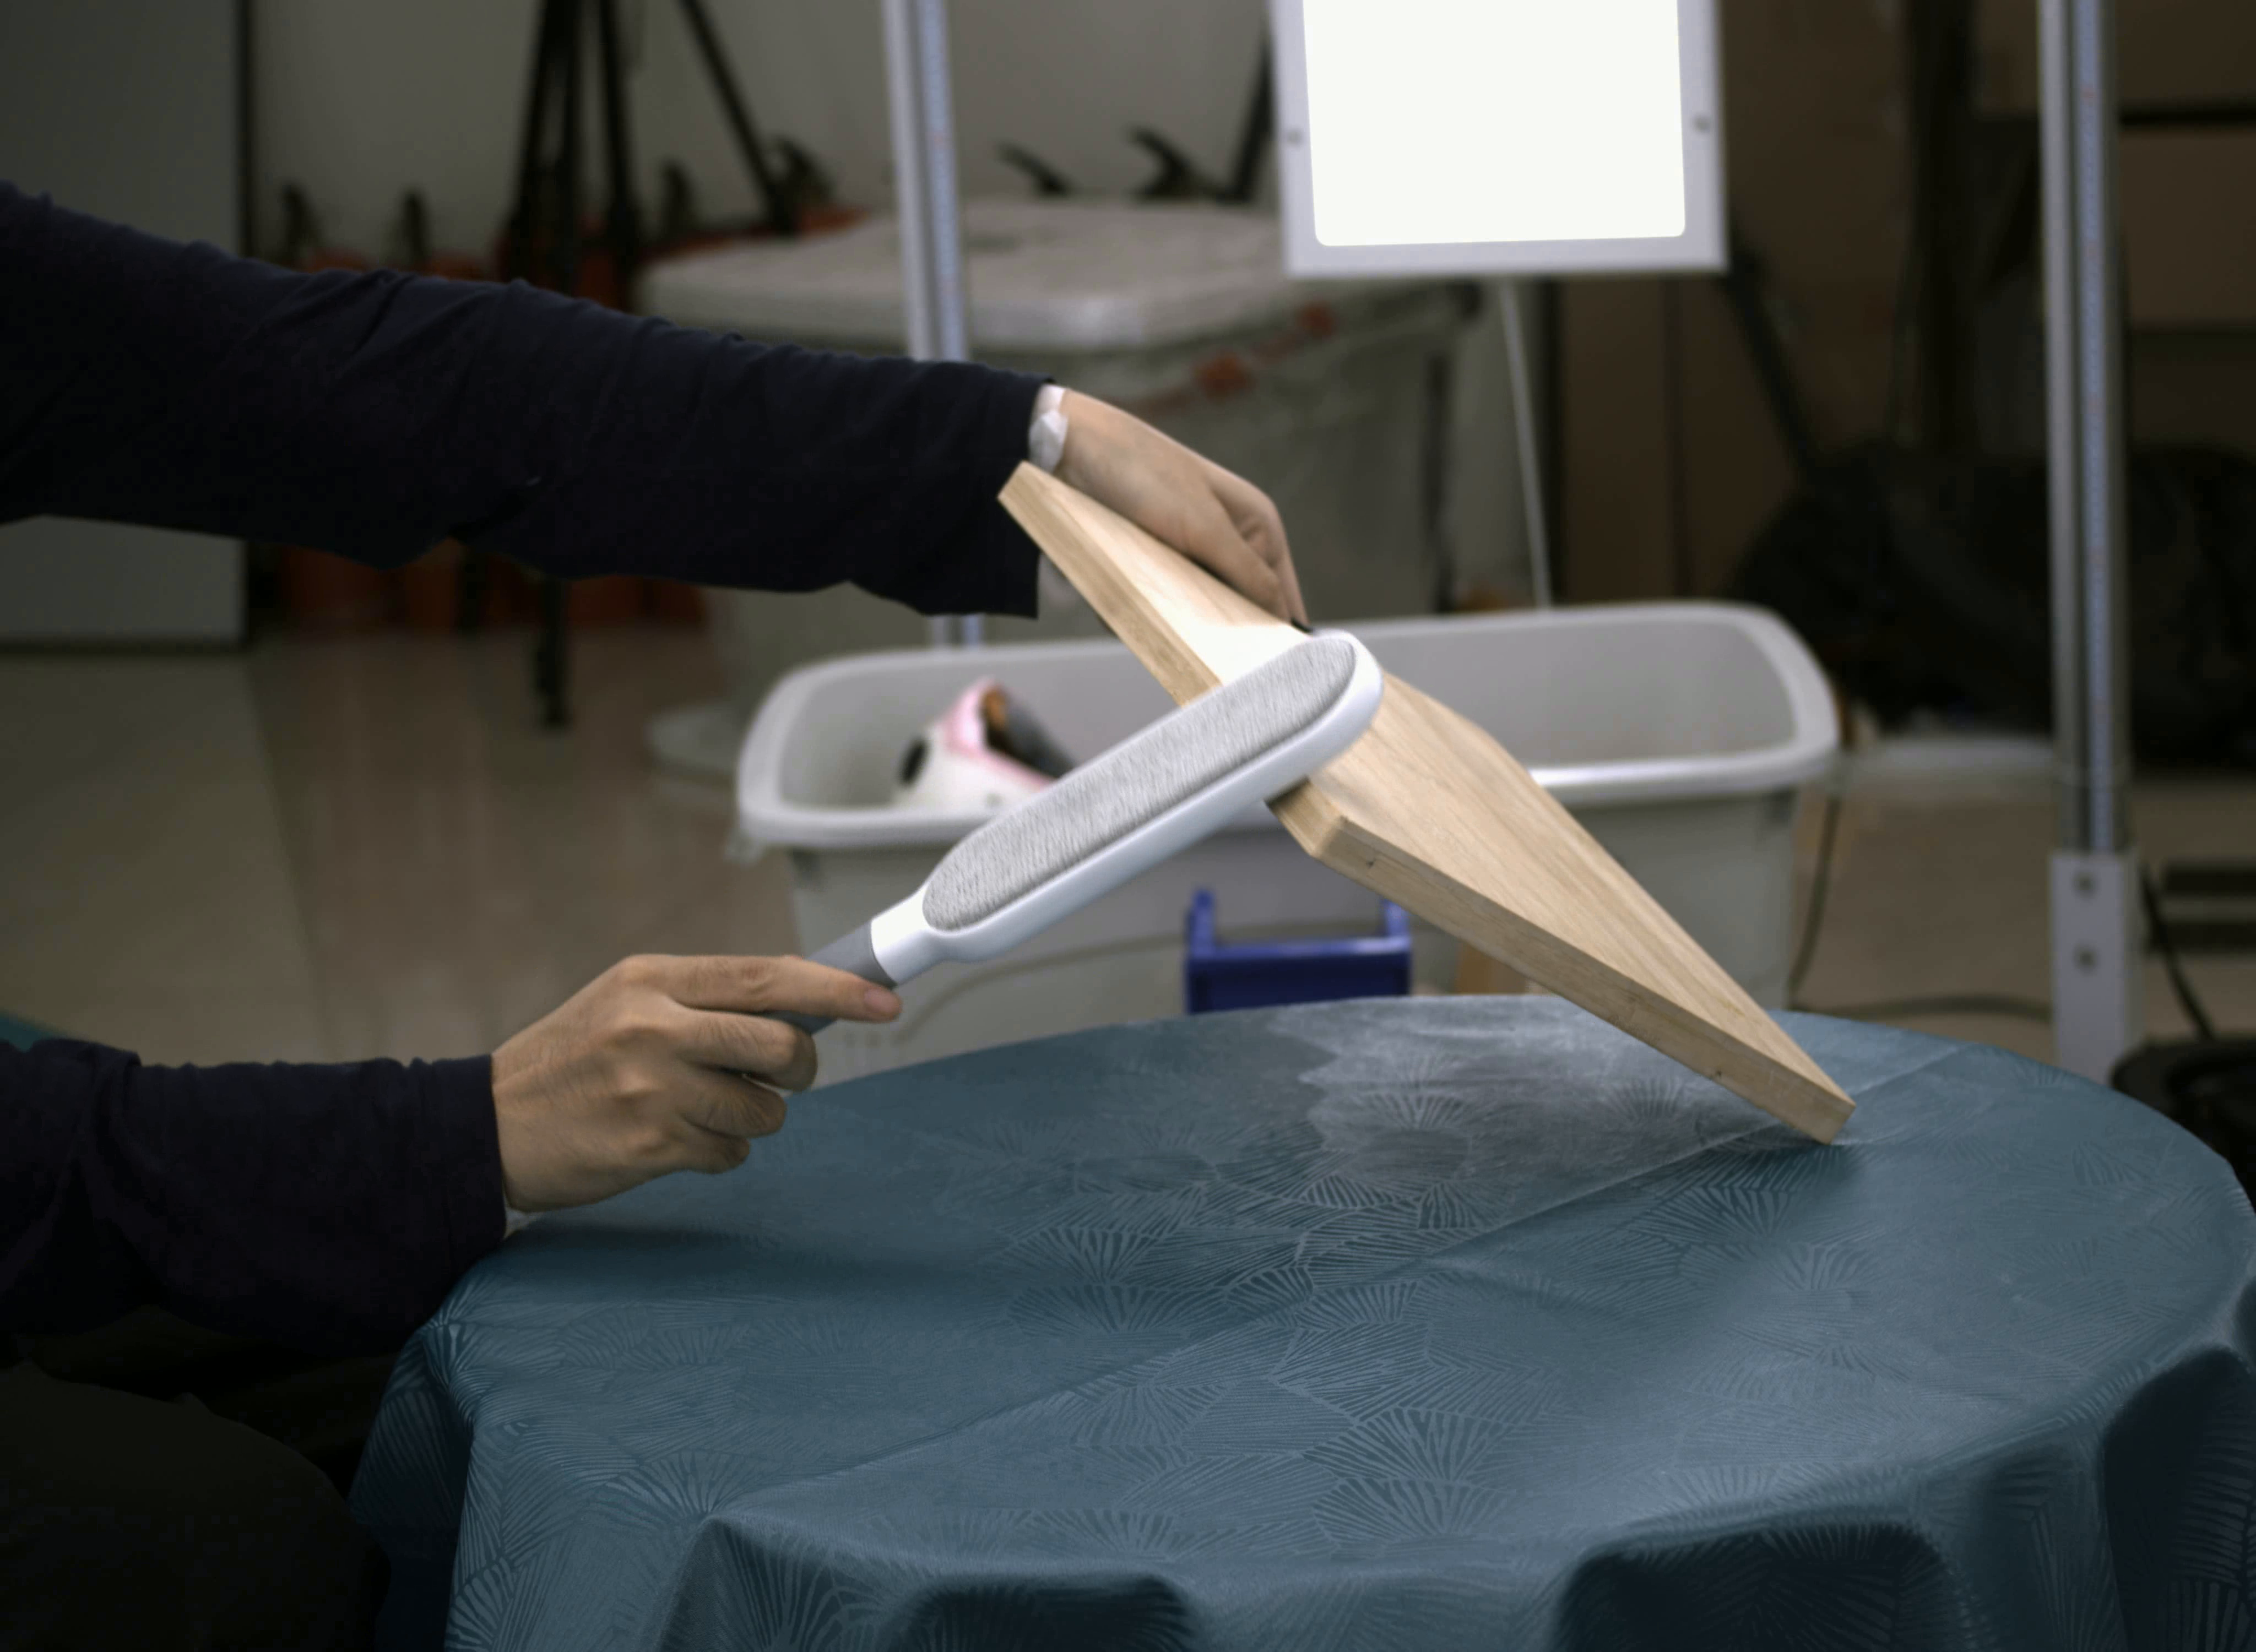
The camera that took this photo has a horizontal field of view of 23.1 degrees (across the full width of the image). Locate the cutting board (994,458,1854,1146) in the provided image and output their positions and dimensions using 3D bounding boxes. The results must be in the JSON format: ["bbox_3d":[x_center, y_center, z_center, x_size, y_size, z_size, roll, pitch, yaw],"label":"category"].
[{"bbox_3d":[0.099,-0.015,1.981,0.246,0.024,0.352,29,11,-29],"label":"cutting board"}]

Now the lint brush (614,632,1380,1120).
[{"bbox_3d":[-0.047,0.020,1.849,0.313,0.020,0.060,-30,37,19],"label":"lint brush"}]
